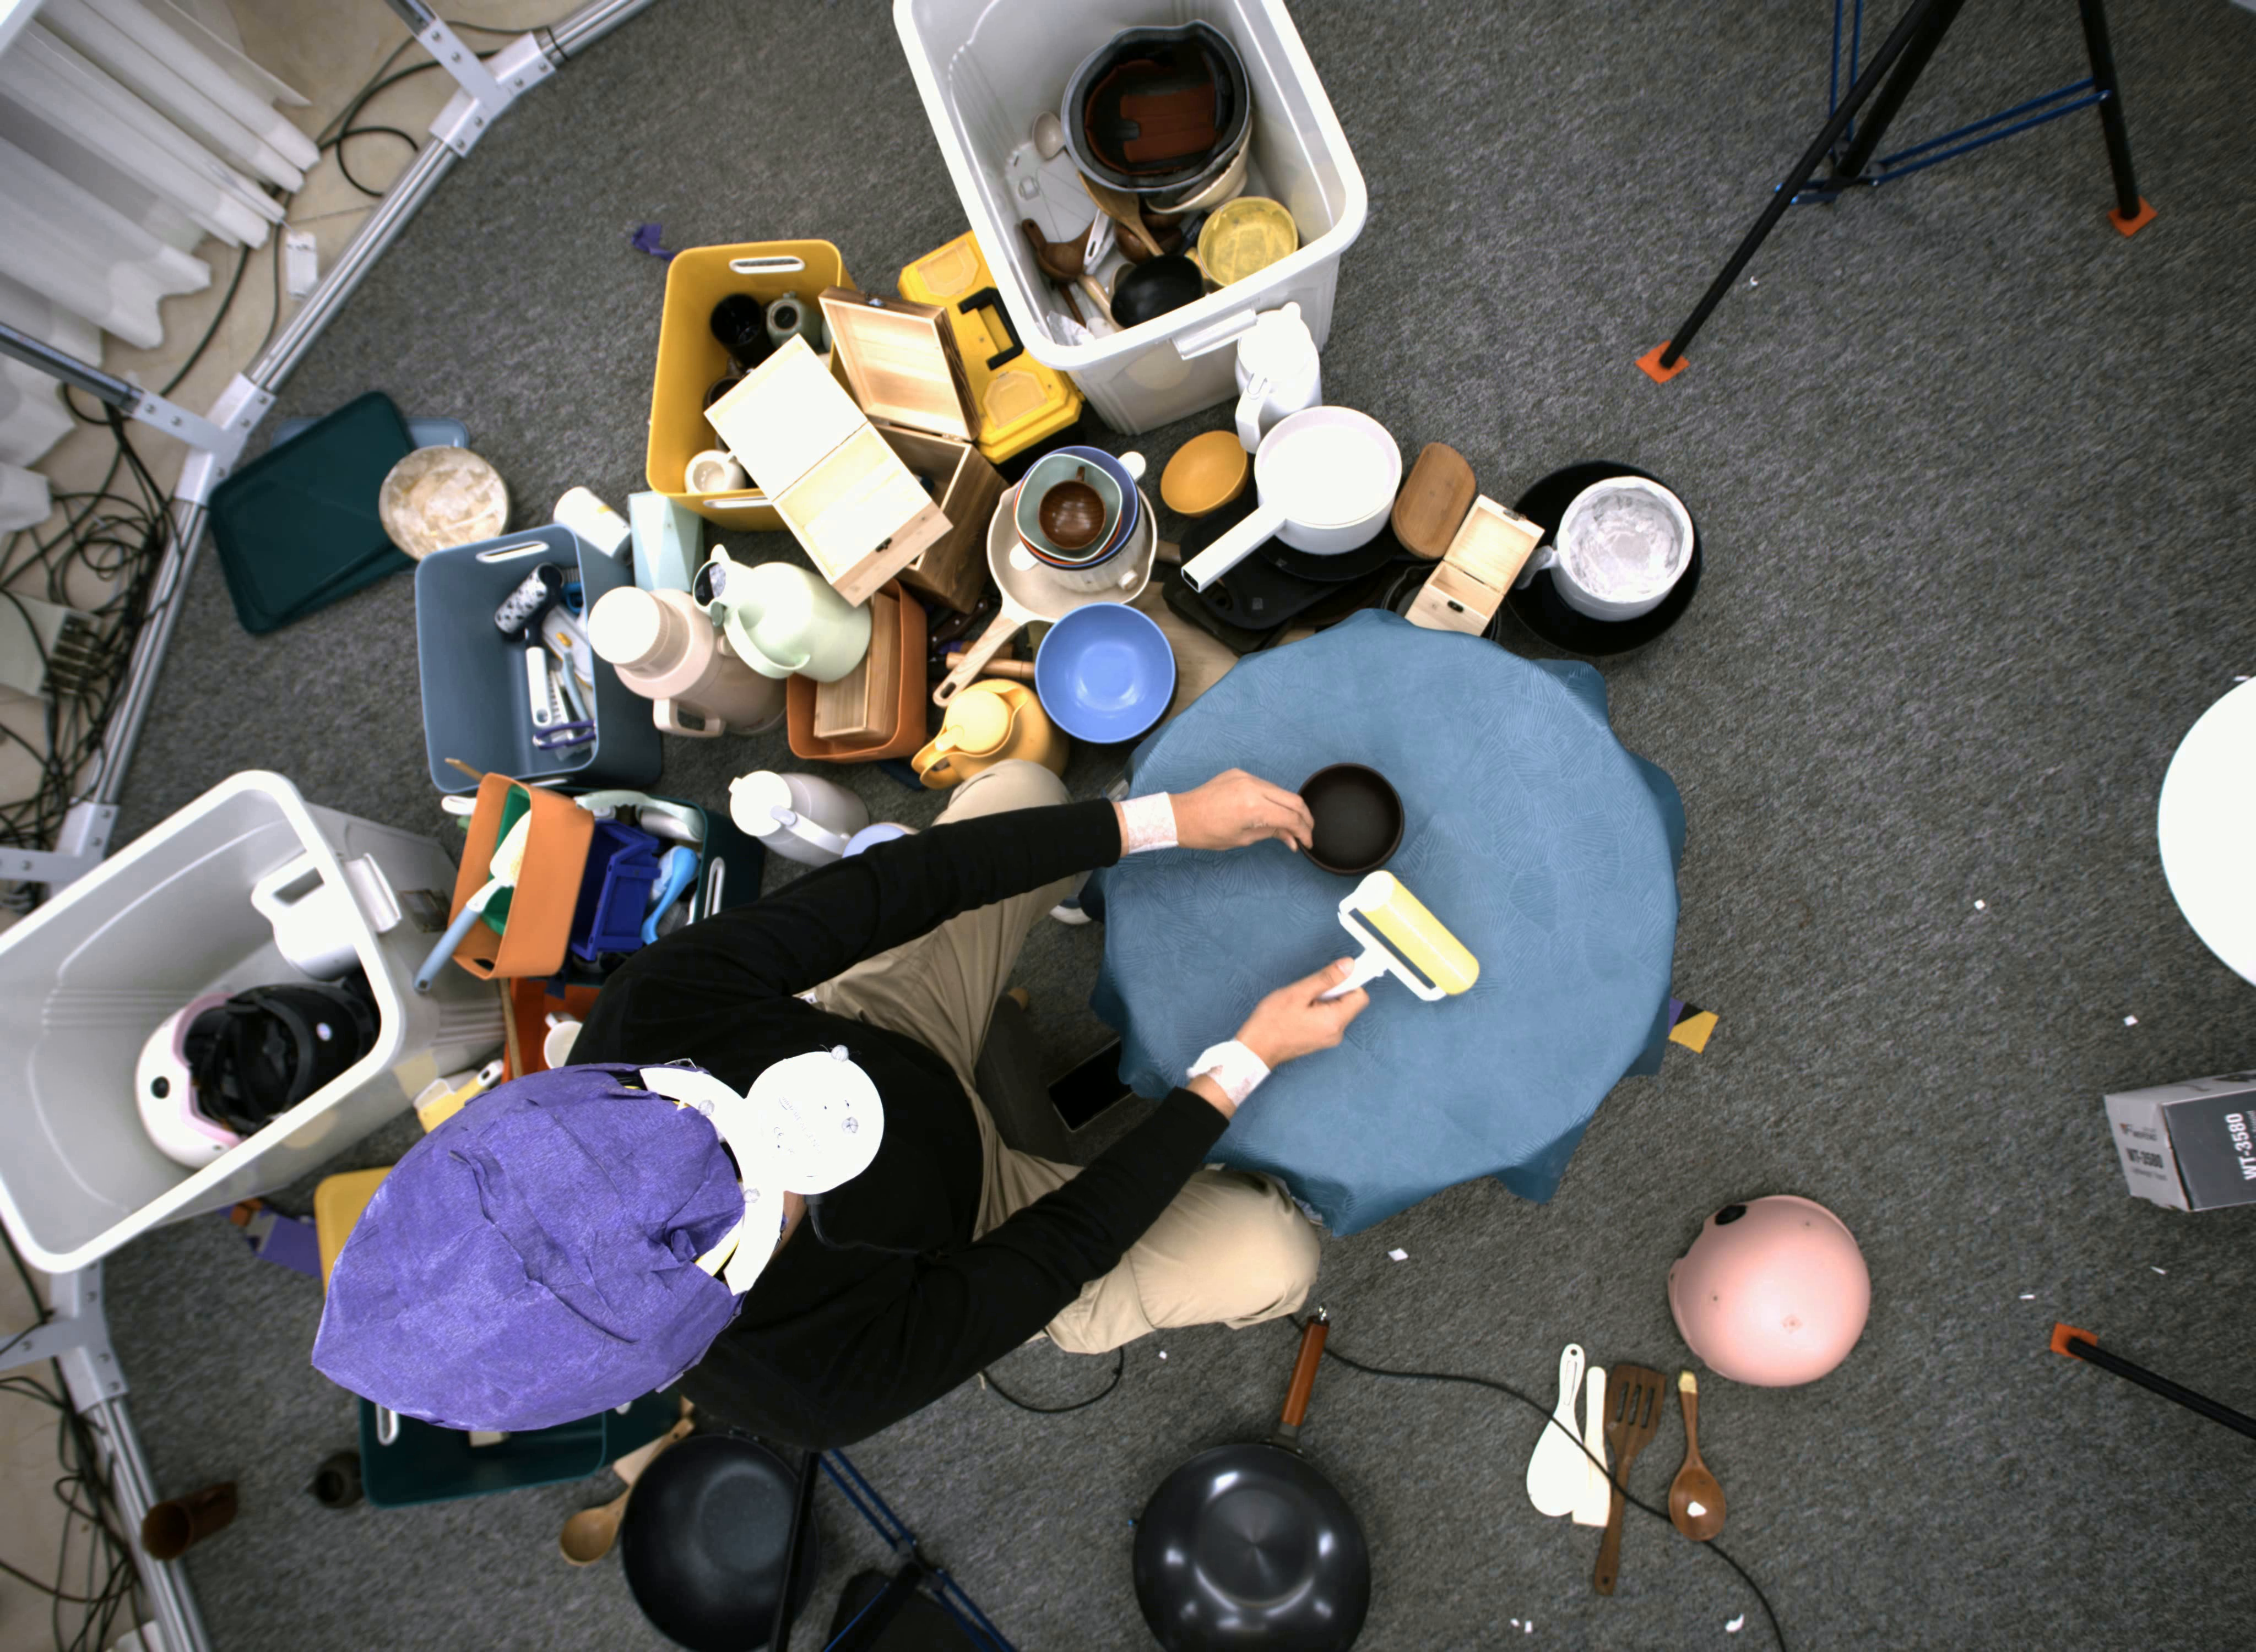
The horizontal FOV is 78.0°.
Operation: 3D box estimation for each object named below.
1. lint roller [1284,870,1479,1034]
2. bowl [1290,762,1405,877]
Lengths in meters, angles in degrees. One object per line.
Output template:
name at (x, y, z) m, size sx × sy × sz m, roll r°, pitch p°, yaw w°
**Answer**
lint roller at (0.236, 0.152, 1.388) m, size 0.194 × 0.050 × 0.176 m, roll -45°, pitch 124°, yaw 12°
bowl at (0.228, -0.005, 1.433) m, size 0.118 × 0.070 × 0.117 m, roll -1°, pitch 84°, yaw 12°
